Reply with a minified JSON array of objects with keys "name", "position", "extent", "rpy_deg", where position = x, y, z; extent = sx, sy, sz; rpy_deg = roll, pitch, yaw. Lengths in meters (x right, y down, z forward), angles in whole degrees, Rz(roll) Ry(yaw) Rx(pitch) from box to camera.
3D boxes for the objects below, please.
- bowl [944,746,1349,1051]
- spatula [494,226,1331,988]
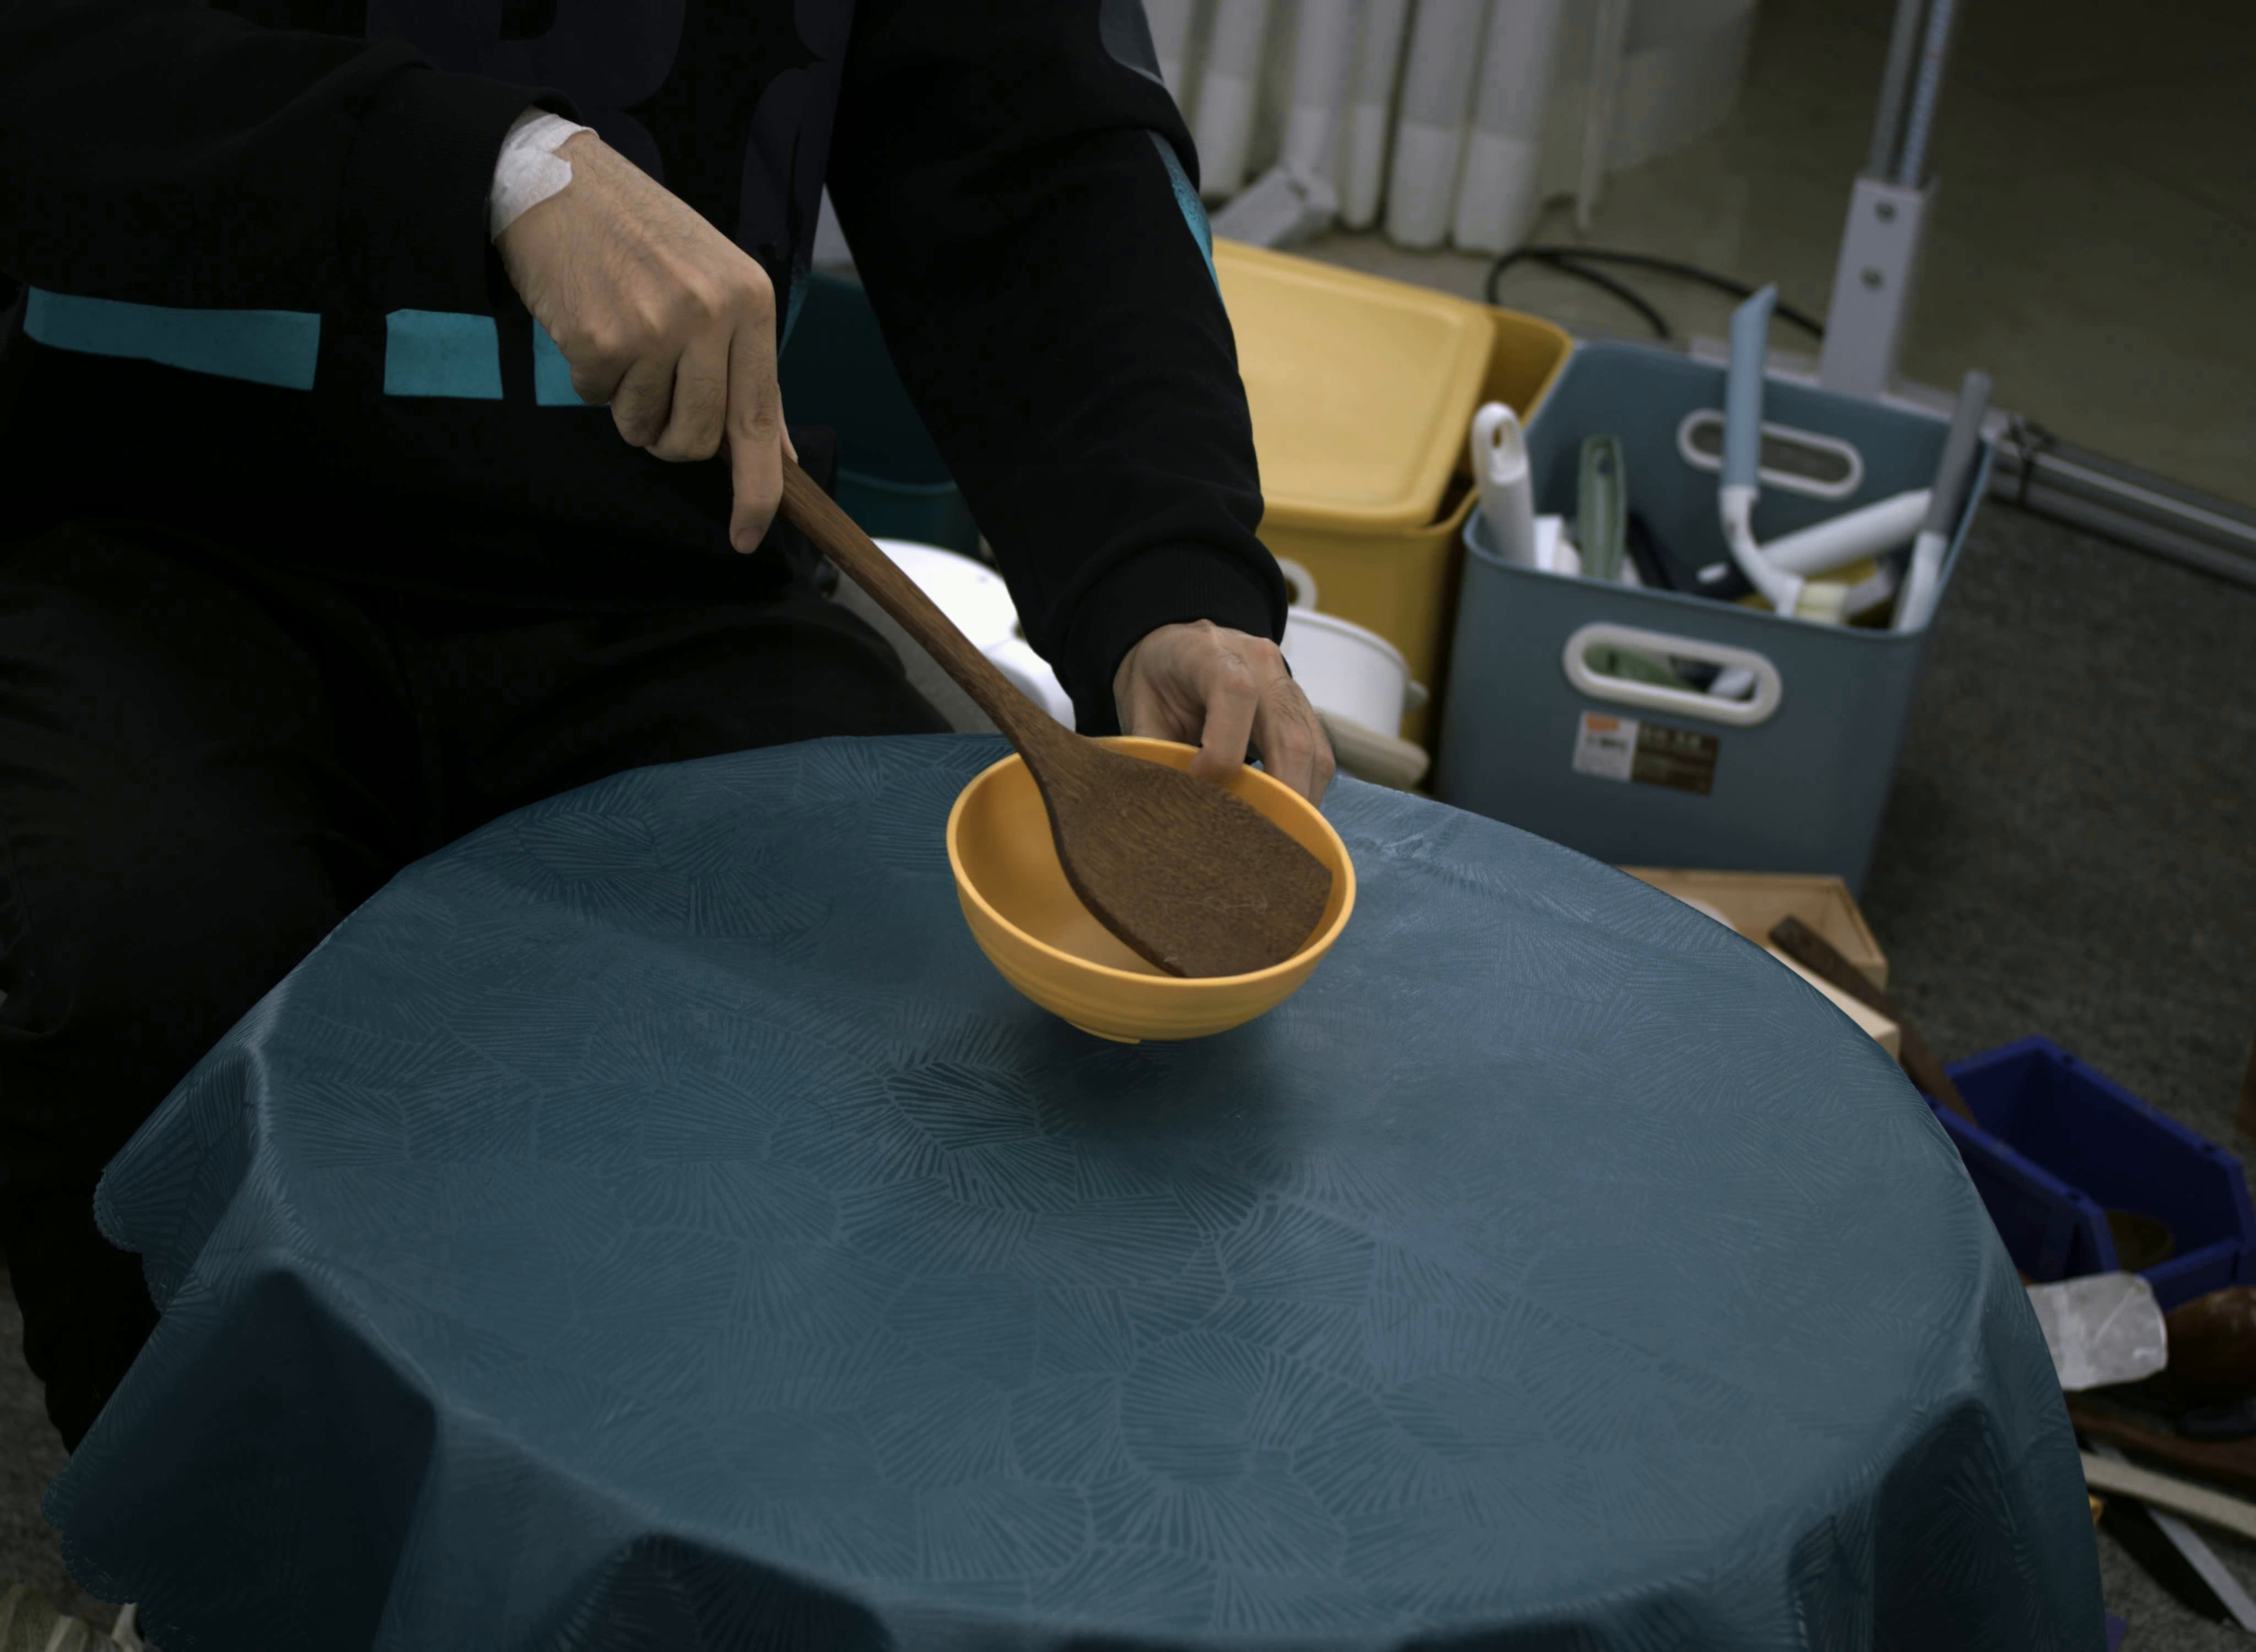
[{"name":"bowl","position":[0.002,0.036,1.869],"extent":[0.145,0.060,0.146],"rpy_deg":[8,32,-6]},{"name":"spatula","position":[-0.084,-0.084,1.867],"extent":[0.387,0.016,0.096],"rpy_deg":[44,43,9]}]
